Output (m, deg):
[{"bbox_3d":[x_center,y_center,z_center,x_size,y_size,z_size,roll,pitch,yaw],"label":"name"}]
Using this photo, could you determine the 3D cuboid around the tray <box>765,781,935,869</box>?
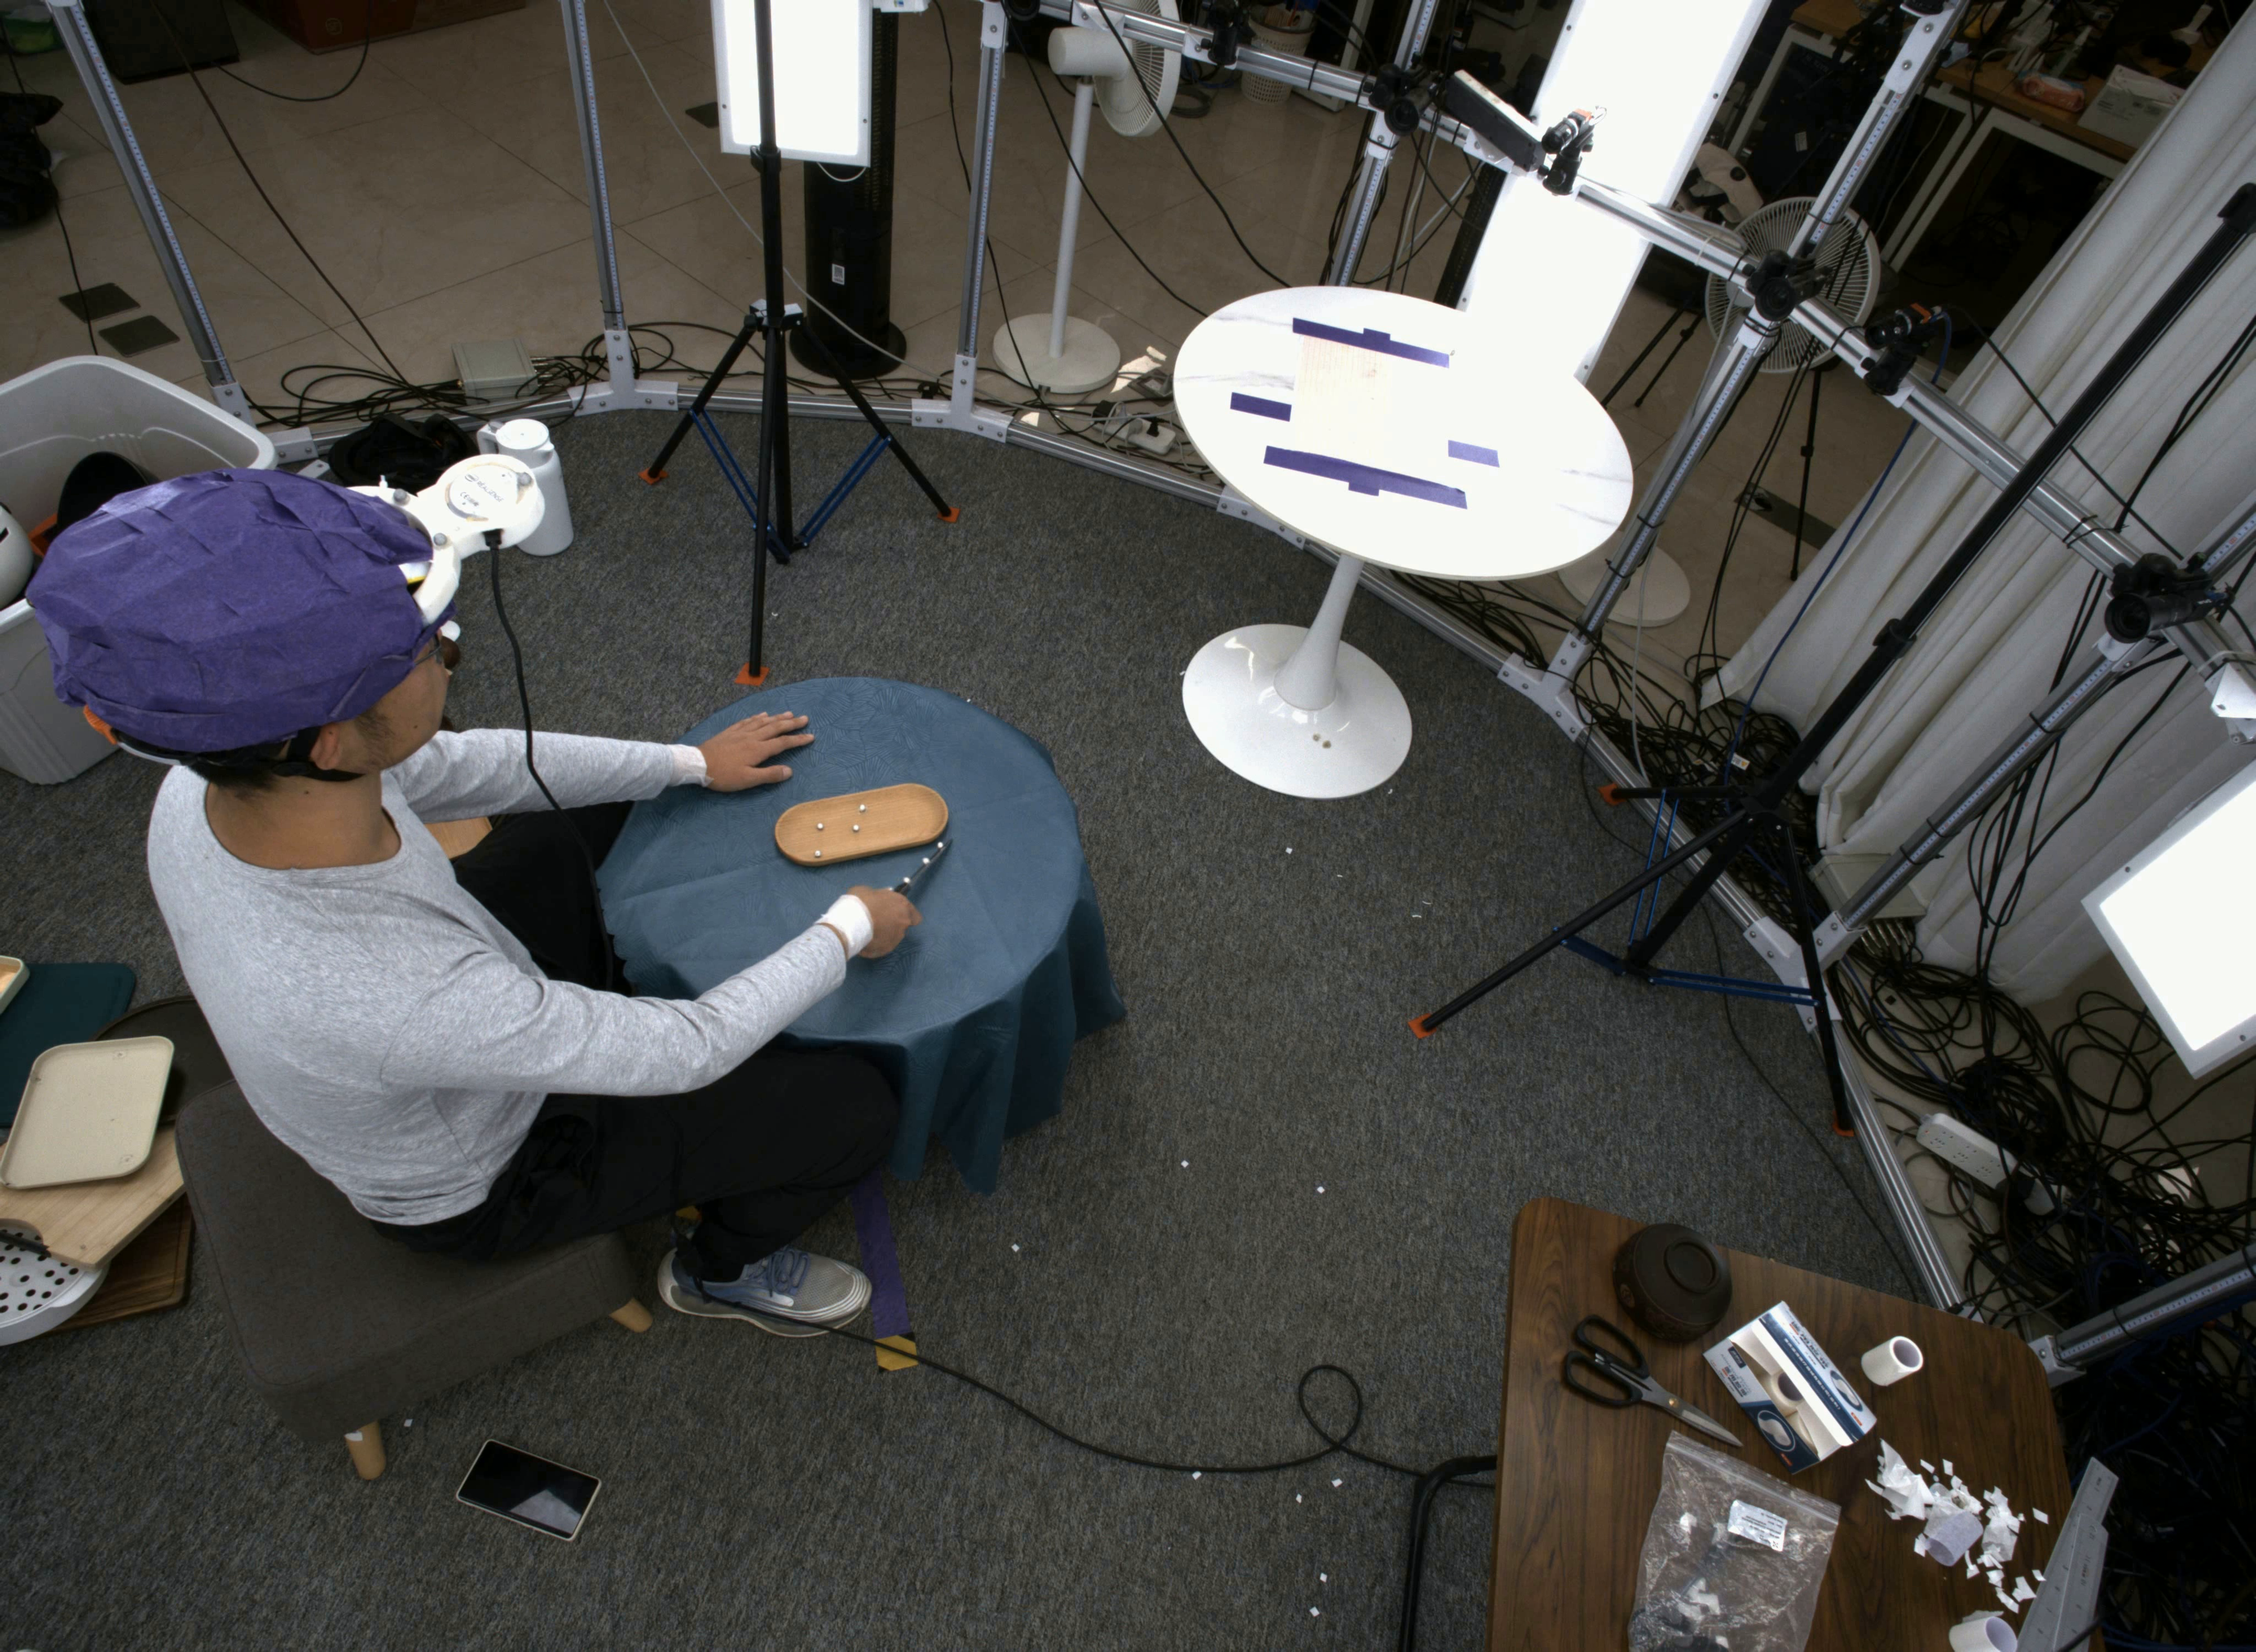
[{"bbox_3d":[-0.371,-0.003,1.741,0.232,0.020,0.099,-14,60,-25],"label":"tray"}]

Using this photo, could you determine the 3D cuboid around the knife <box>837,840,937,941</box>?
[{"bbox_3d":[-0.303,0.074,1.674,0.016,0.024,0.237,49,37,-8],"label":"knife"}]
